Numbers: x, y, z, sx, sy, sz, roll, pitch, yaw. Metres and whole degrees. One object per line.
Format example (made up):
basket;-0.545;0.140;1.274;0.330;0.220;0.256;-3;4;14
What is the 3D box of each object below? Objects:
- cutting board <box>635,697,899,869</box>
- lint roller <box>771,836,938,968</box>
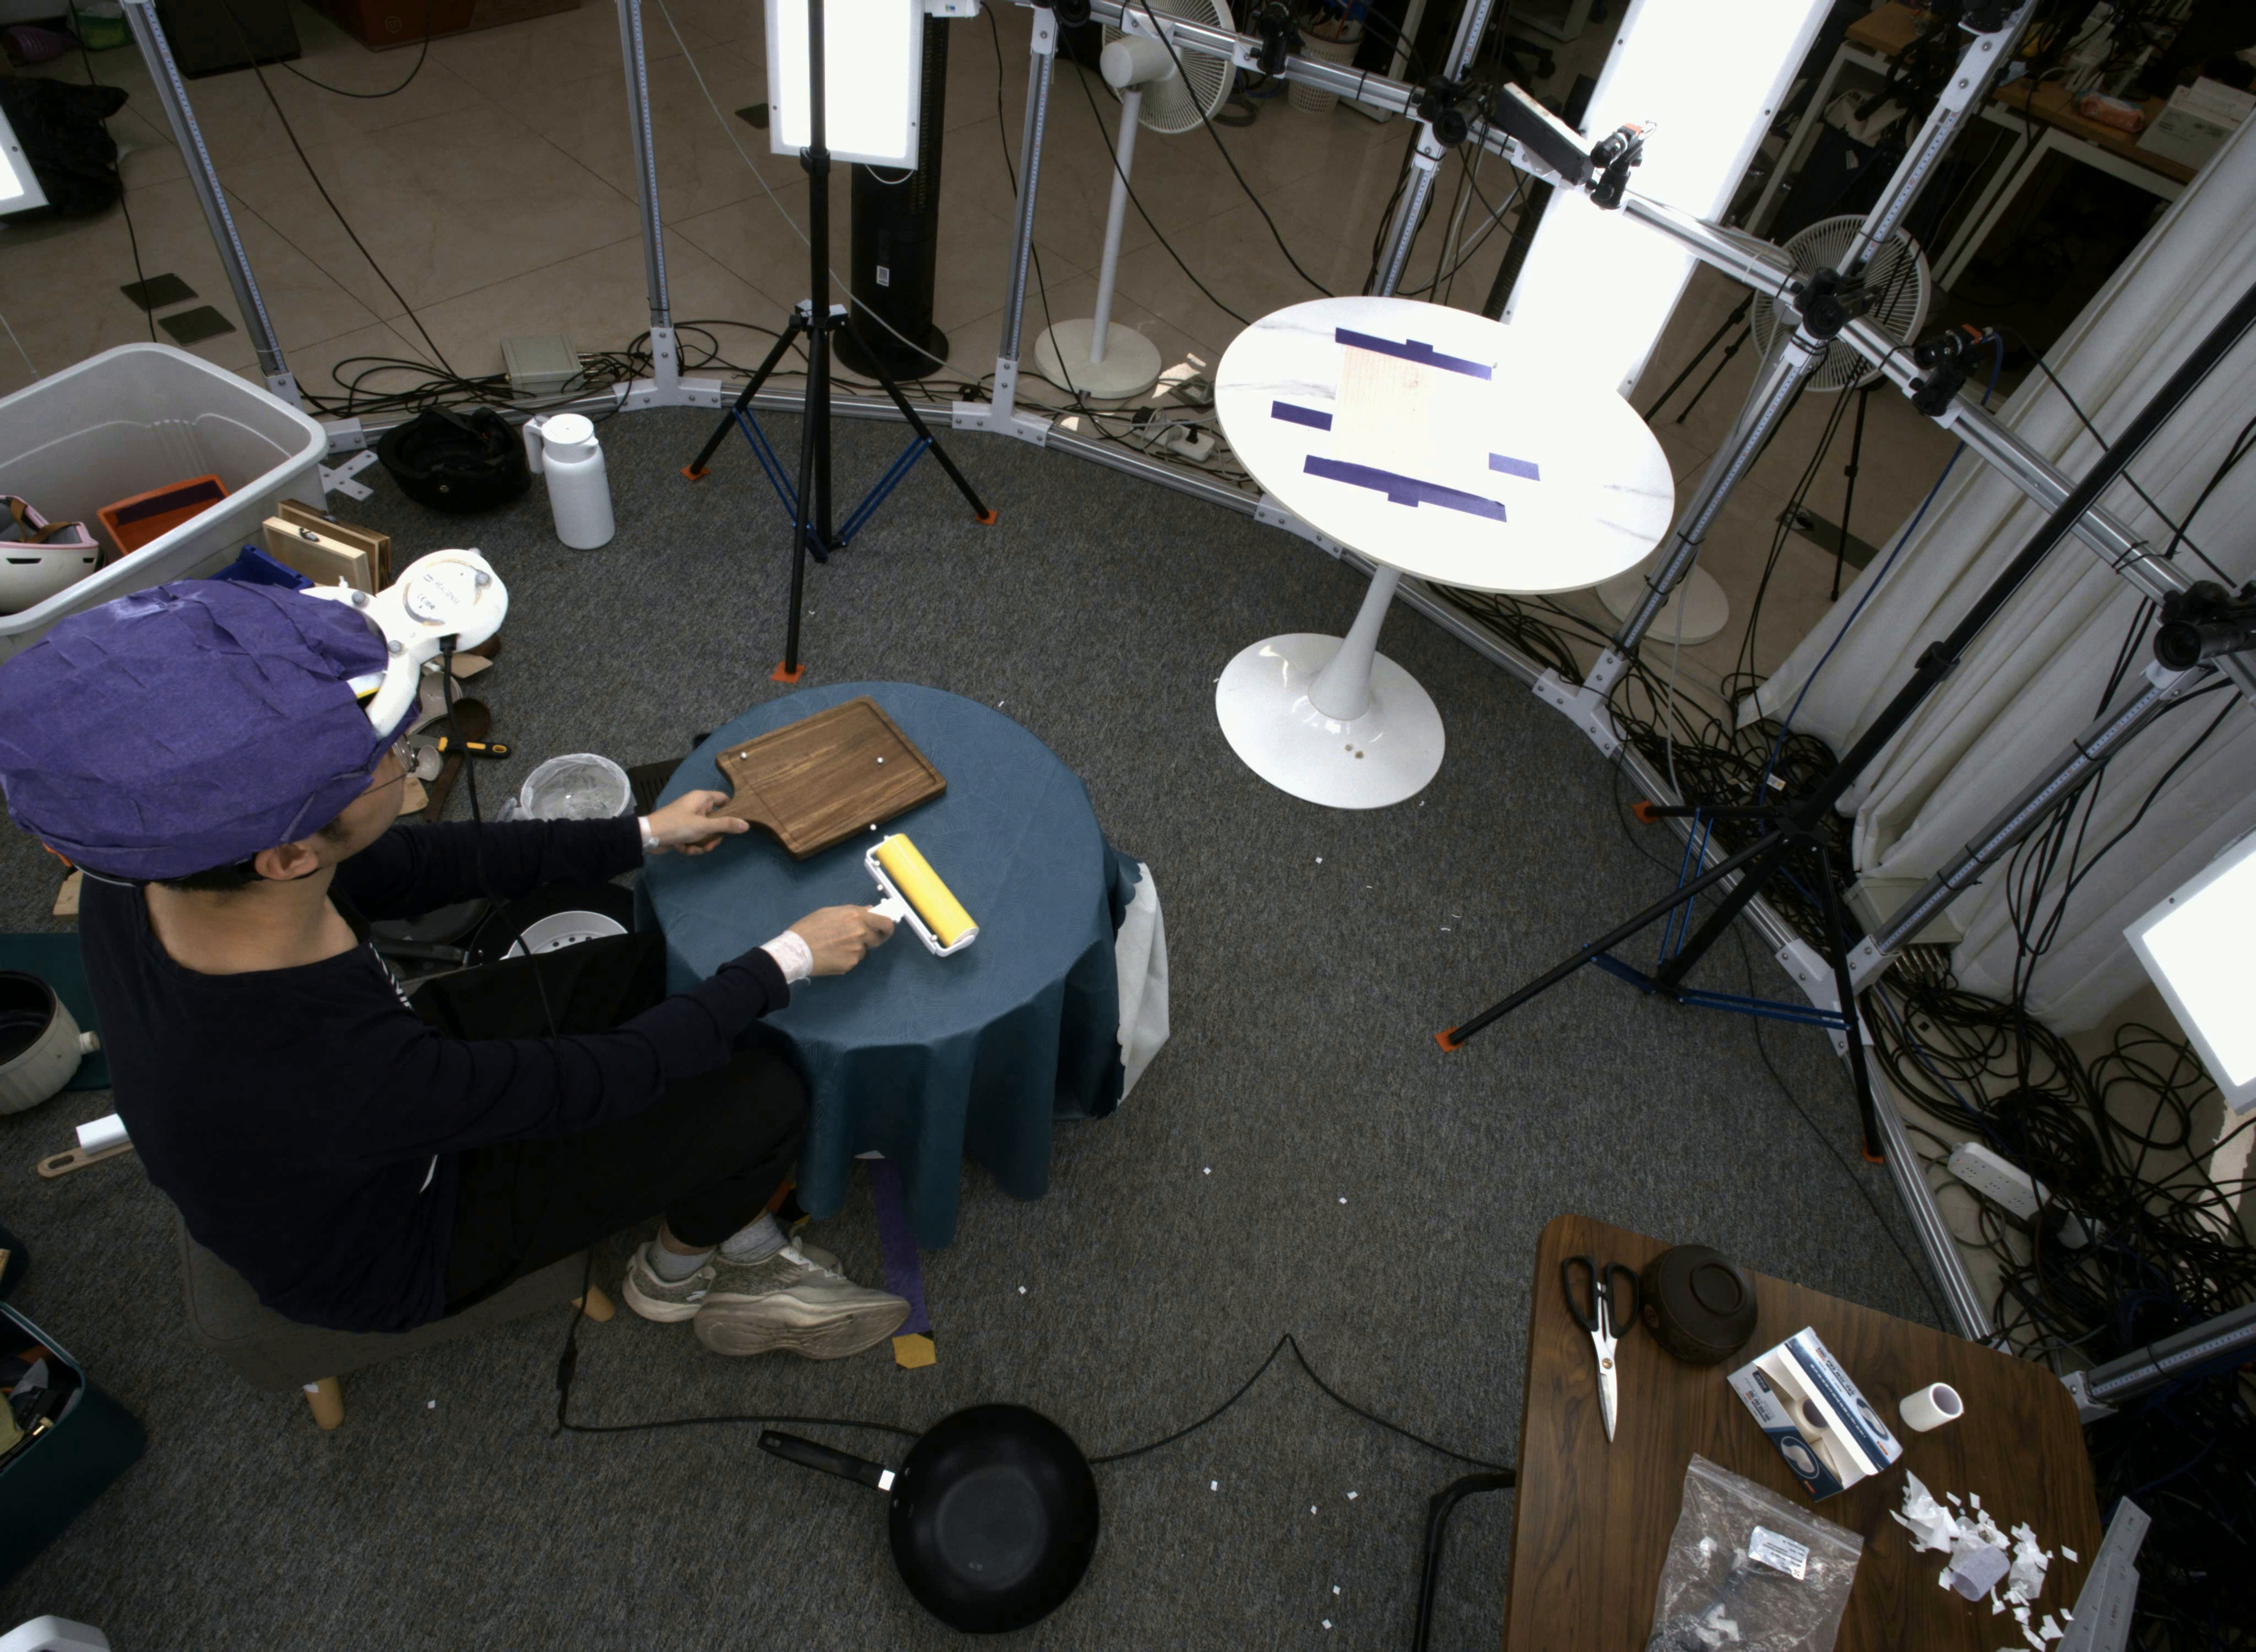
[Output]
cutting board;-0.496;-0.045;1.709;0.197;0.023;0.353;44;50;16
lint roller;-0.355;0.111;1.591;0.171;0.052;0.193;46;45;13
